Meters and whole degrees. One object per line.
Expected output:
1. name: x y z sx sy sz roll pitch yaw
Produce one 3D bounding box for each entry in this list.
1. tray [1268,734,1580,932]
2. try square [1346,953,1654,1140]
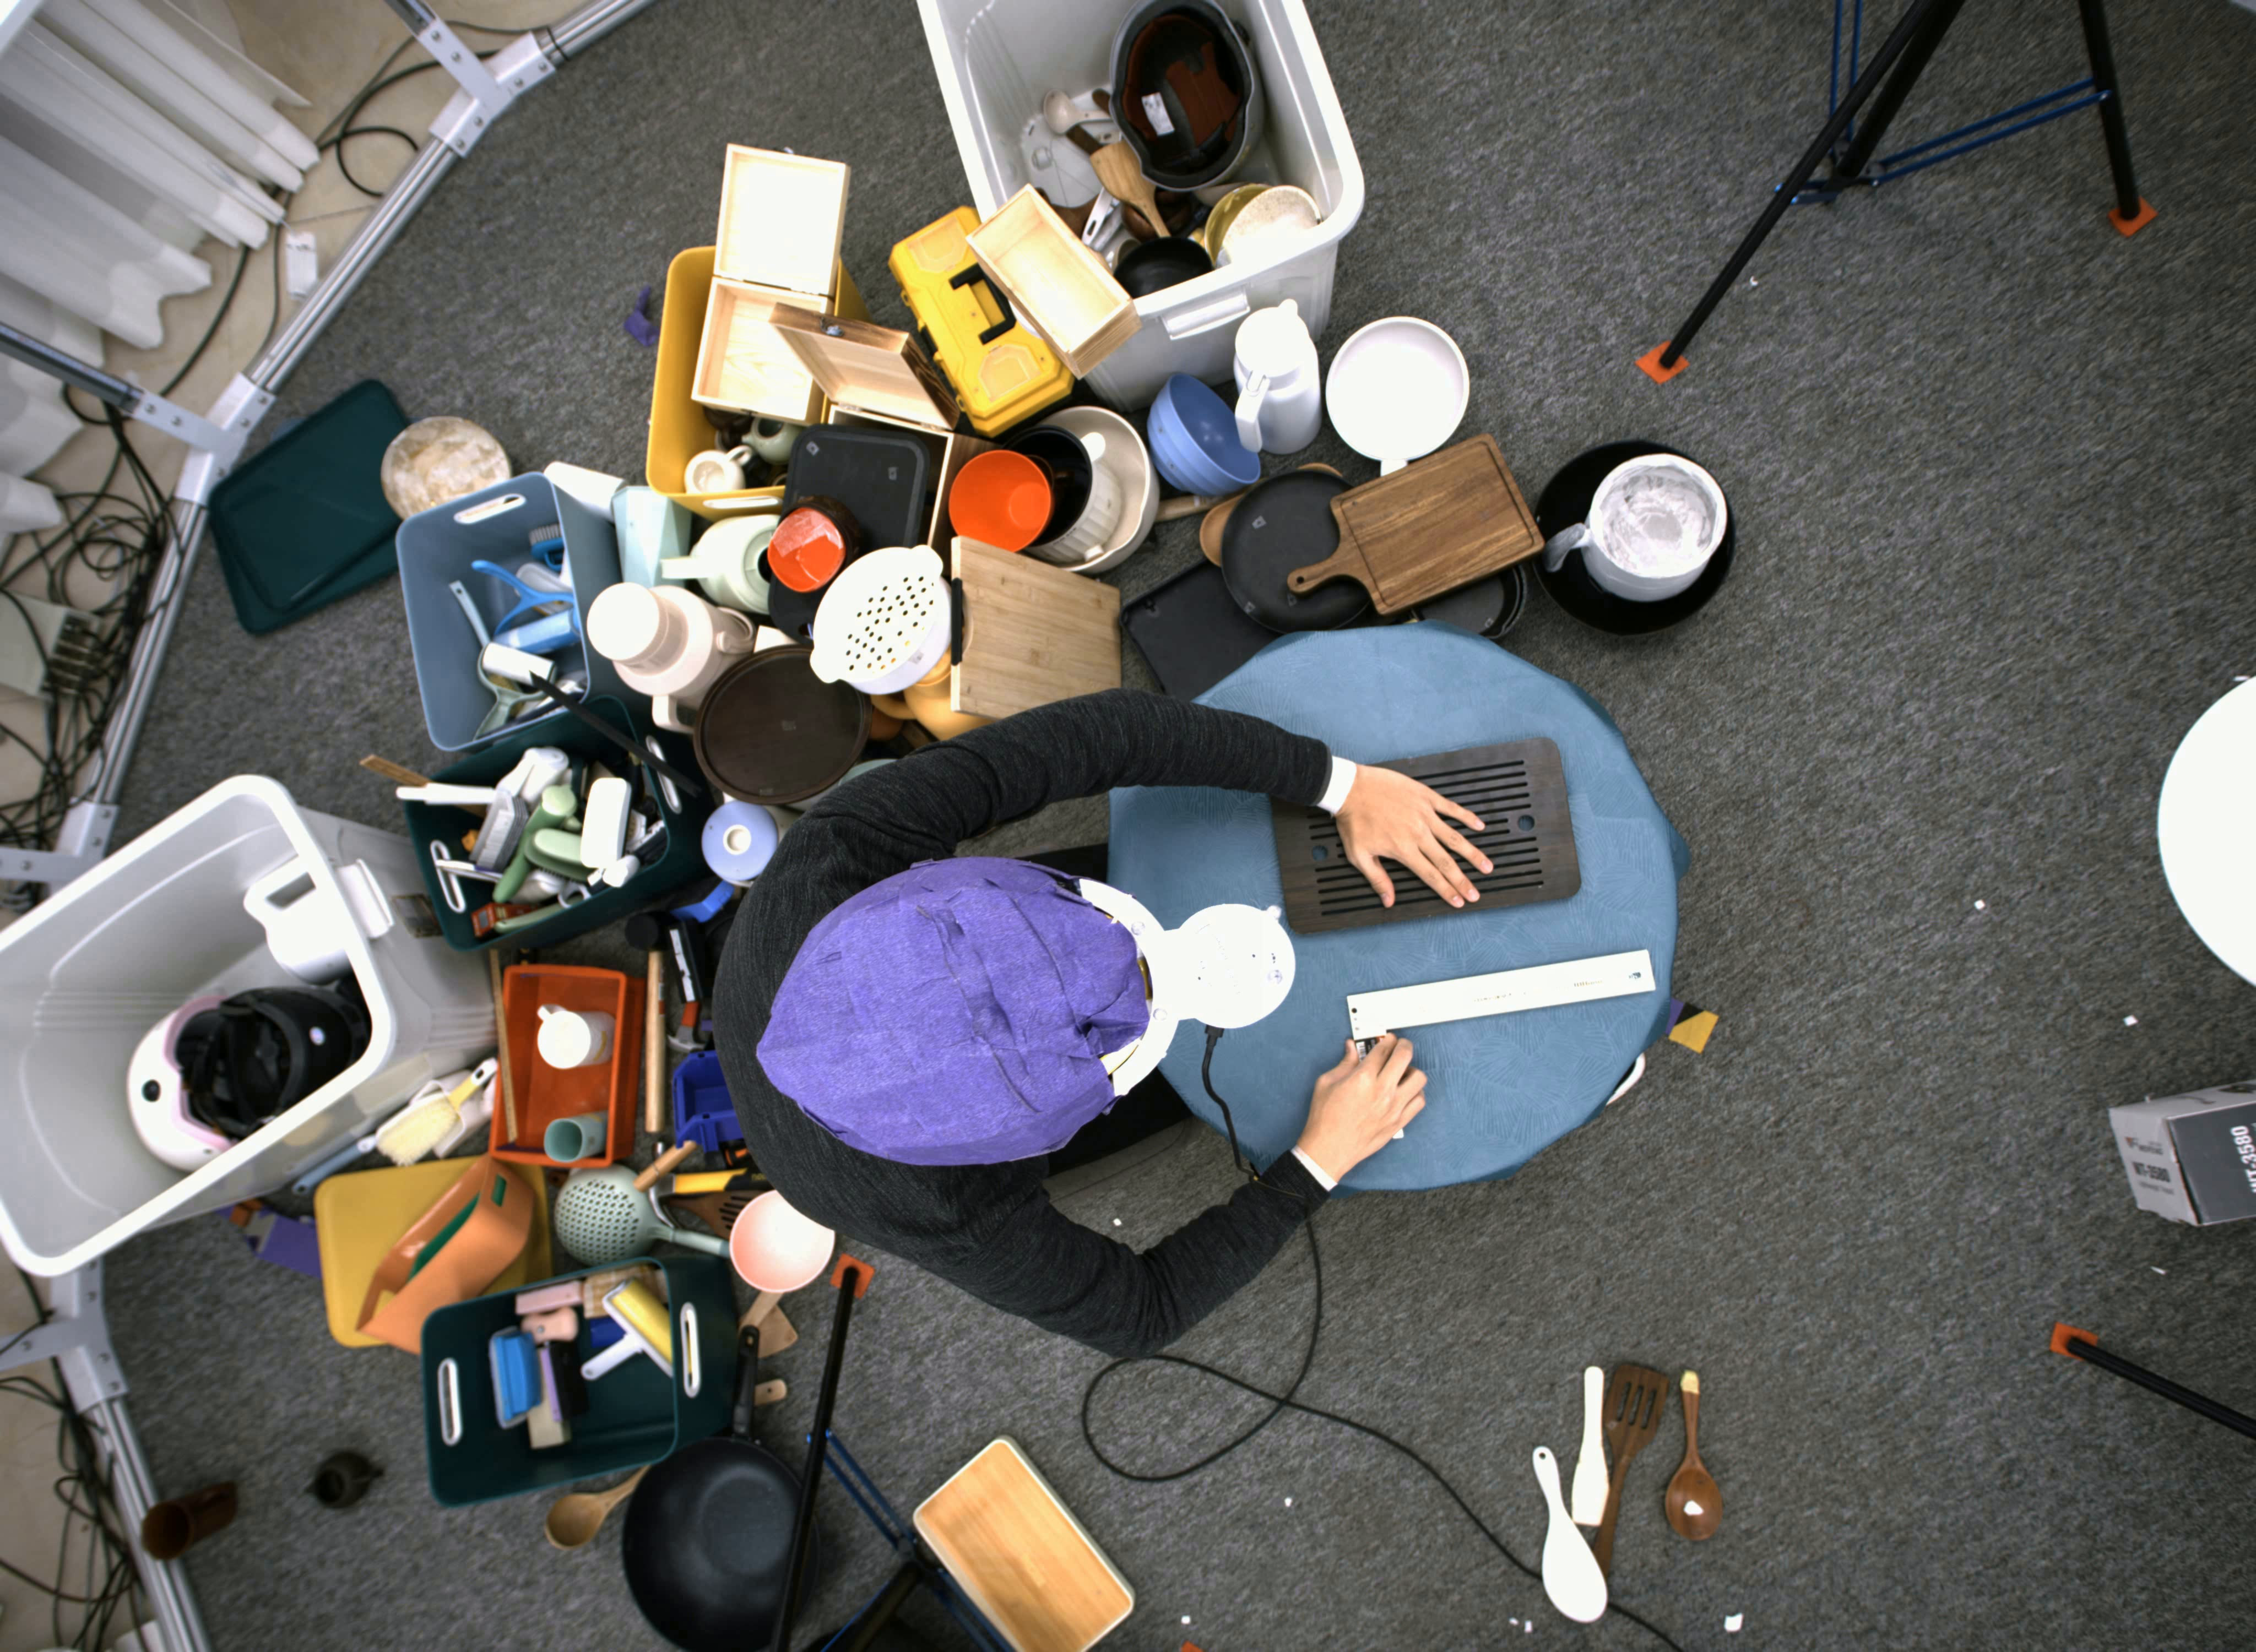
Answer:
1. tray: 0.309 0.007 1.447 0.307 0.018 0.169 -9 86 10
2. try square: 0.388 0.224 1.417 0.314 0.016 0.151 -9 80 11
